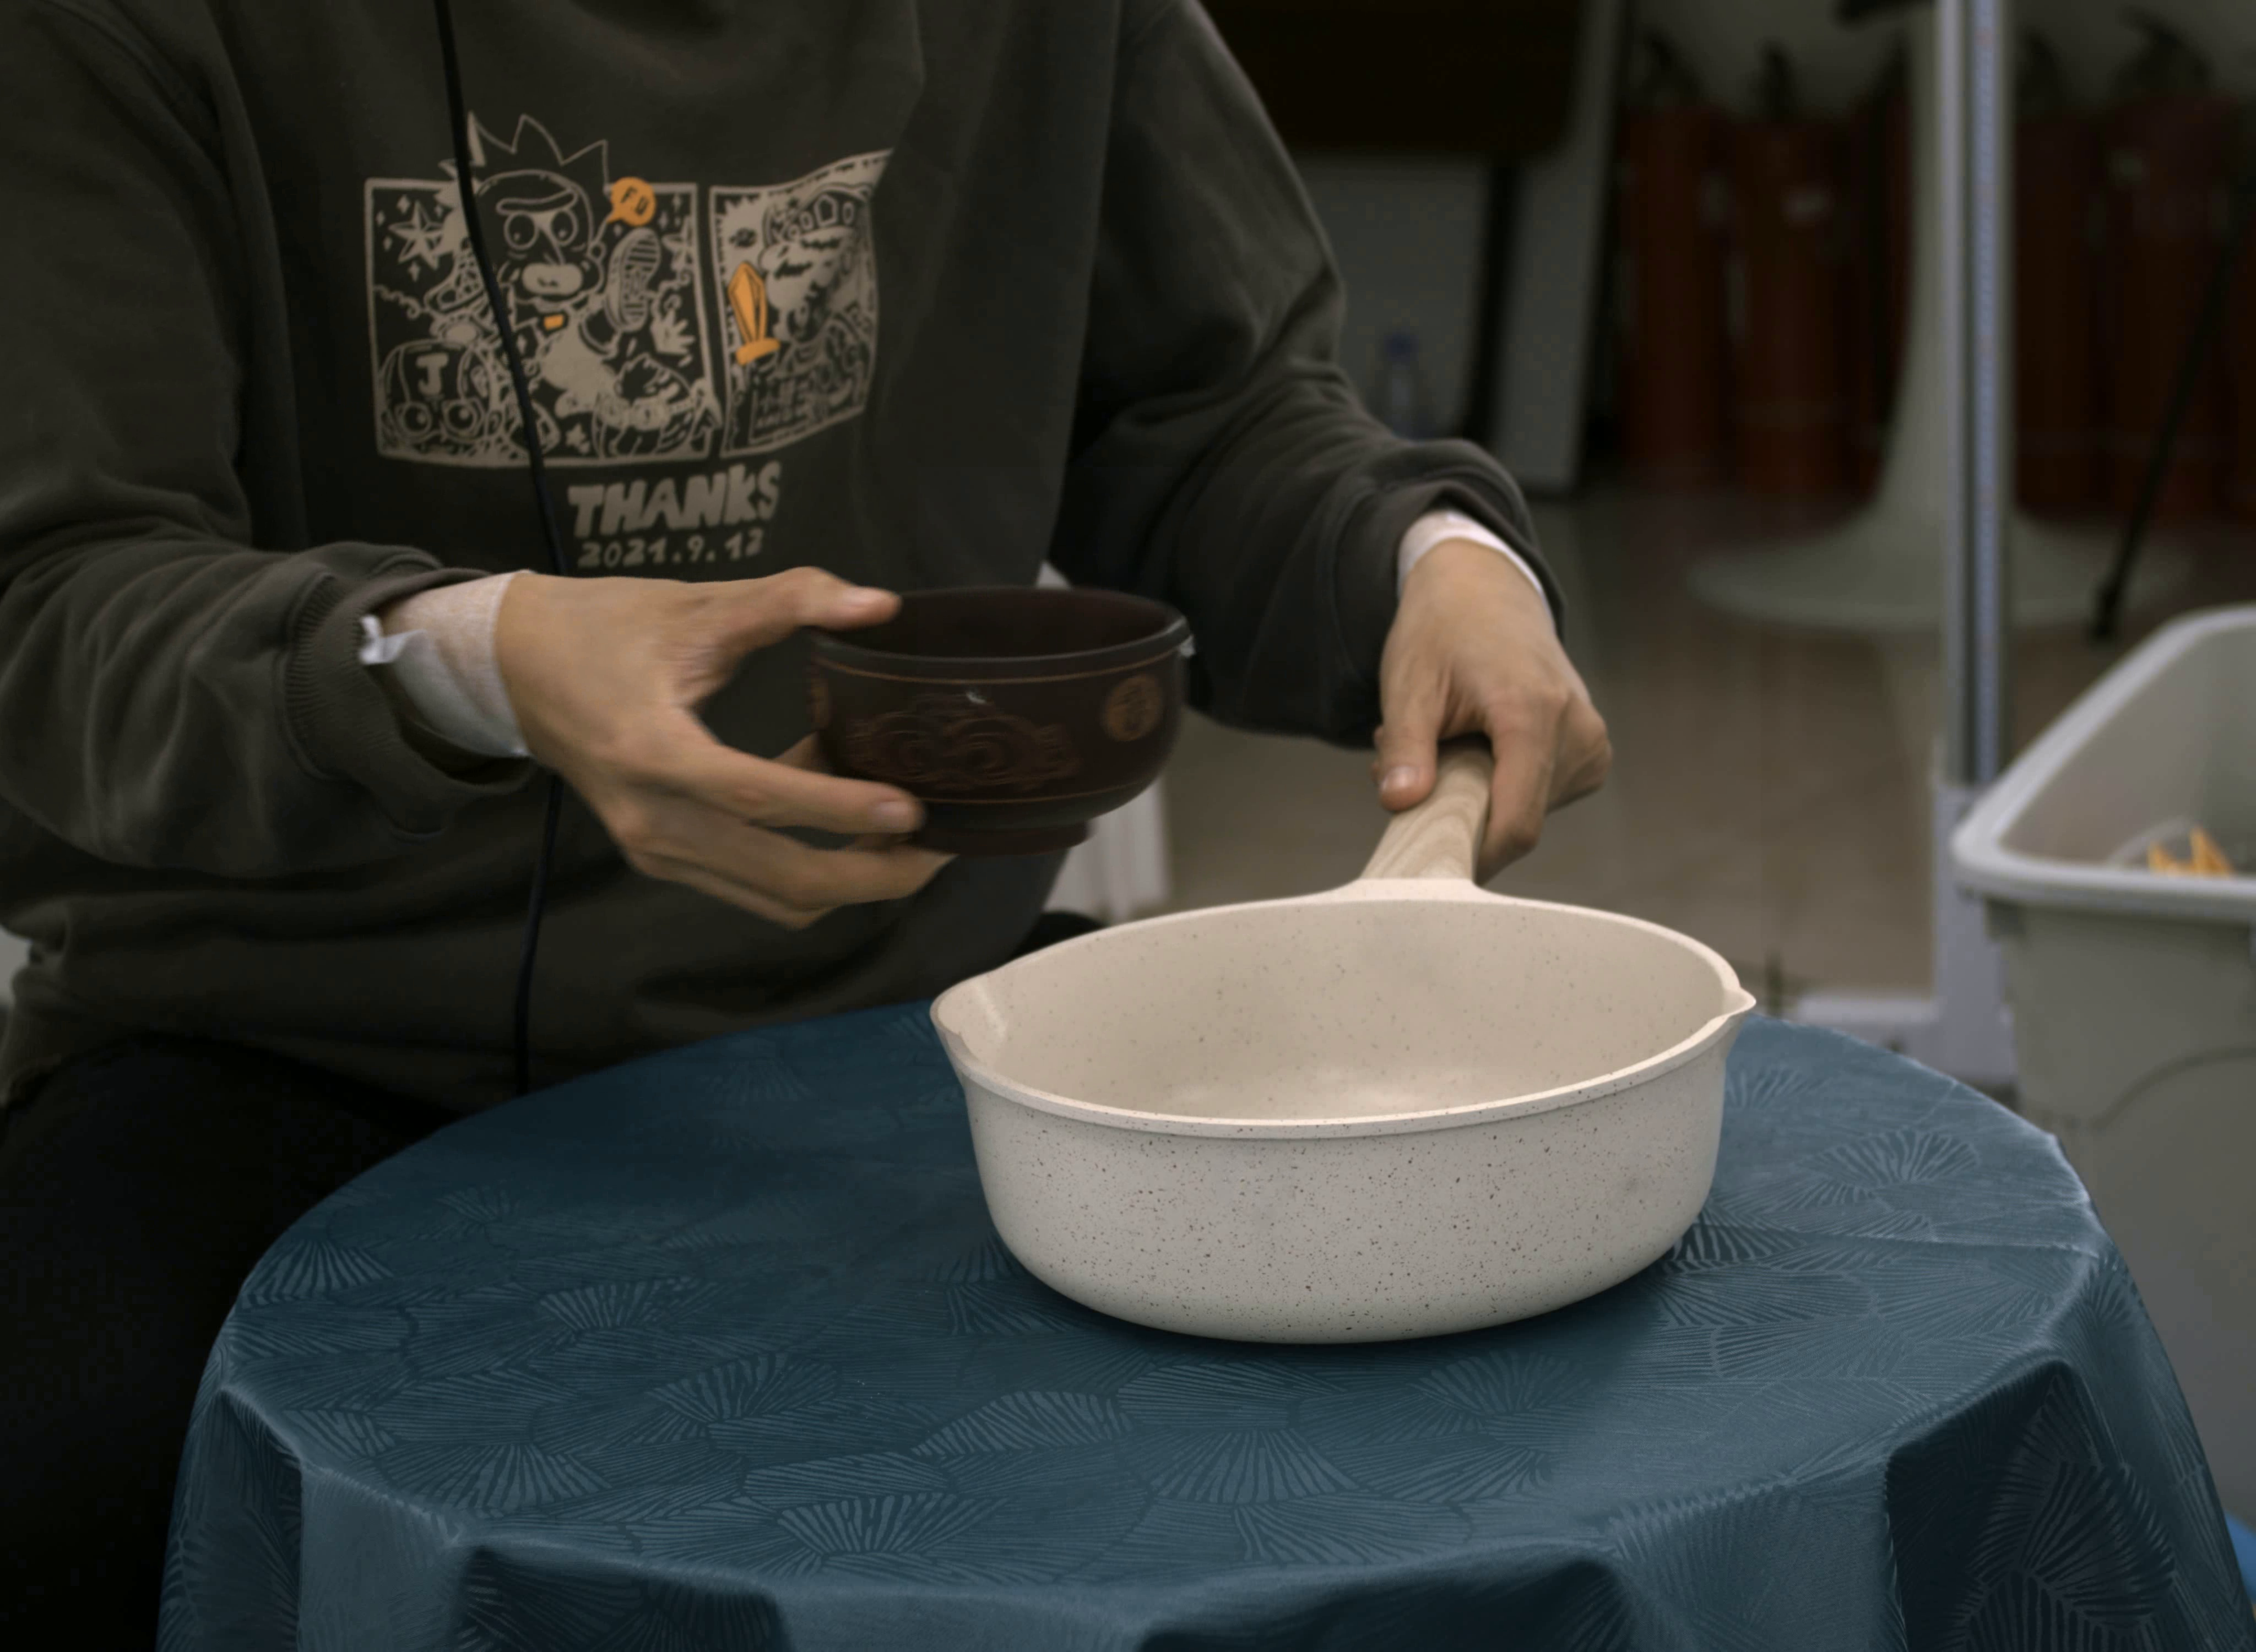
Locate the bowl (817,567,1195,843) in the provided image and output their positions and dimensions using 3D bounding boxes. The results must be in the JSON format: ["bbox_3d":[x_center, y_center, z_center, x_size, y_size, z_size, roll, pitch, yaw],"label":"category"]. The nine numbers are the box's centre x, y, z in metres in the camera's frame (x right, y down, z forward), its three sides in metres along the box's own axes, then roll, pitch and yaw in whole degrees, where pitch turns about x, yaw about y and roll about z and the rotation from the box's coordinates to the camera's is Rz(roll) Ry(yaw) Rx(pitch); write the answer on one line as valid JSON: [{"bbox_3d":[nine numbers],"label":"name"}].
[{"bbox_3d":[-0.036,-0.035,1.658,0.116,0.070,0.118,-4,13,0],"label":"bowl"}]

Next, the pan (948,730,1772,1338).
[{"bbox_3d":[0.092,0.065,1.776,0.262,0.103,0.432,-3,13,13],"label":"pan"}]
